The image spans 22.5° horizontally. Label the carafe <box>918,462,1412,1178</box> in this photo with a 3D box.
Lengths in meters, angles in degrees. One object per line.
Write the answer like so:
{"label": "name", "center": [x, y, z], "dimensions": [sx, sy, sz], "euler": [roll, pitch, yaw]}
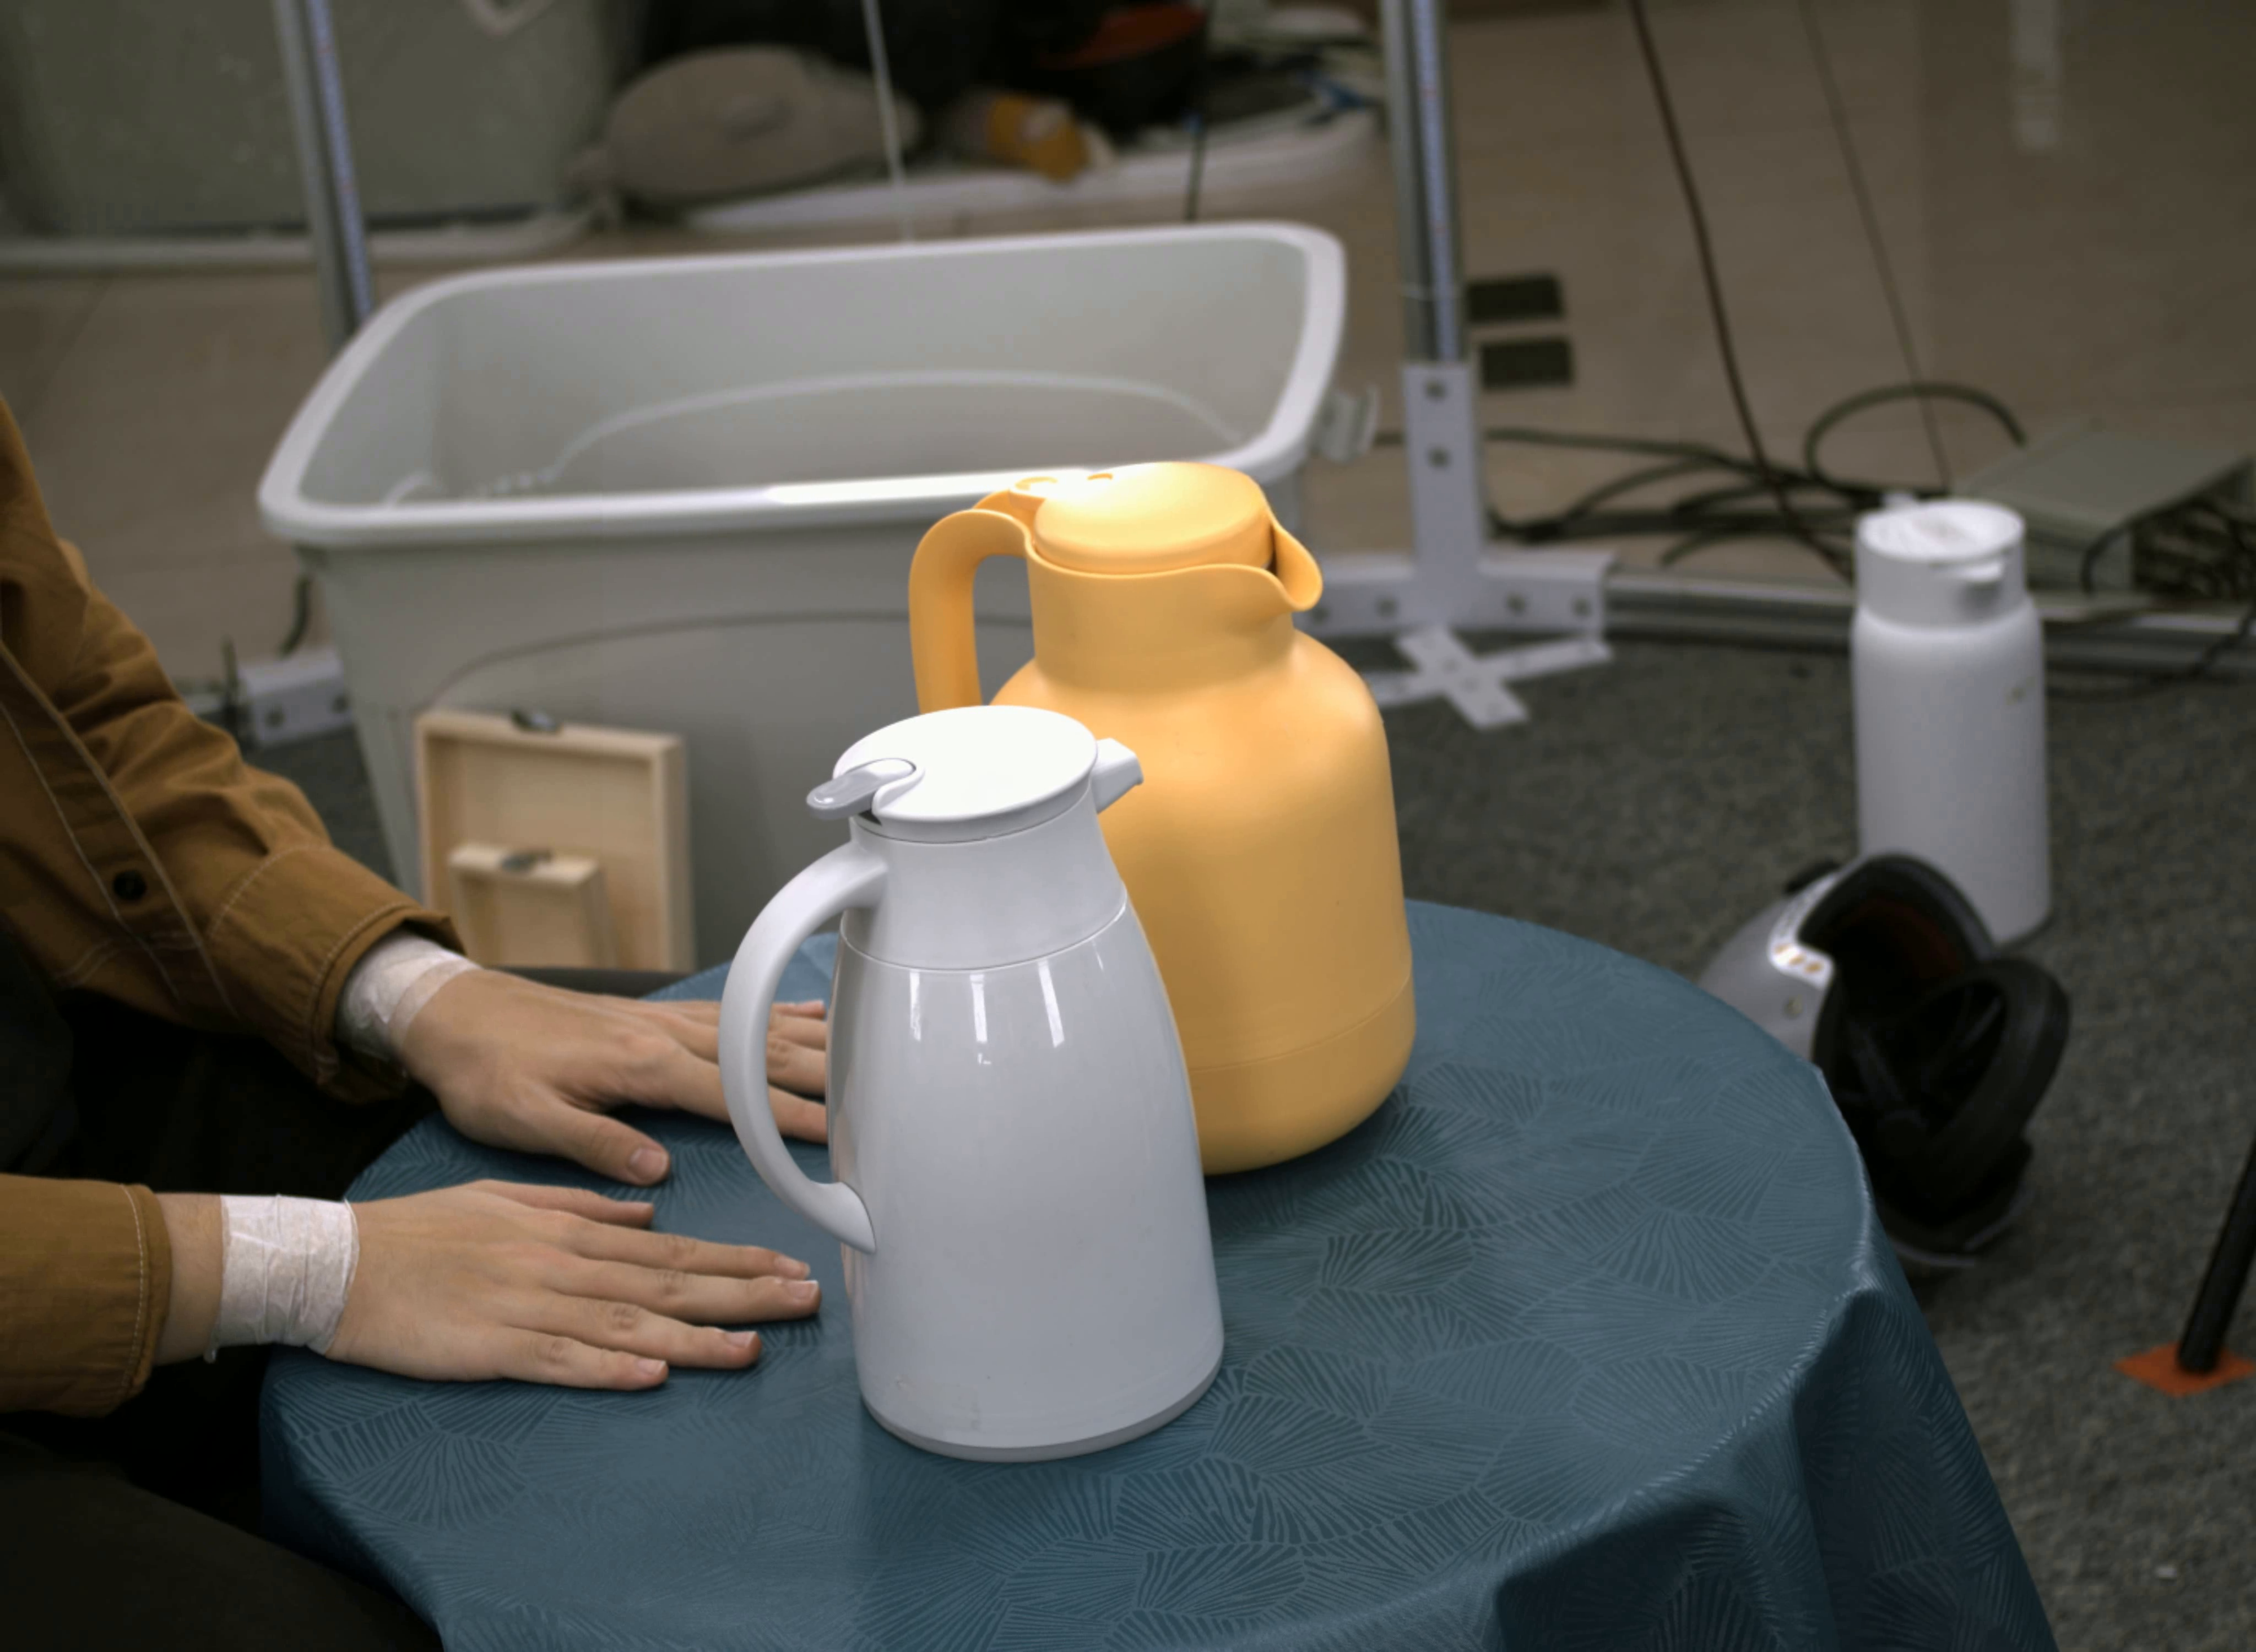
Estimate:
{"label": "carafe", "center": [0.008, -0.012, 2.160], "dimensions": [0.201, 0.264, 0.162], "euler": [18, 34, 39]}

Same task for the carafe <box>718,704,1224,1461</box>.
{"label": "carafe", "center": [-0.060, 0.088, 1.974], "dimensions": [0.167, 0.252, 0.131], "euler": [-20, 29, -24]}
